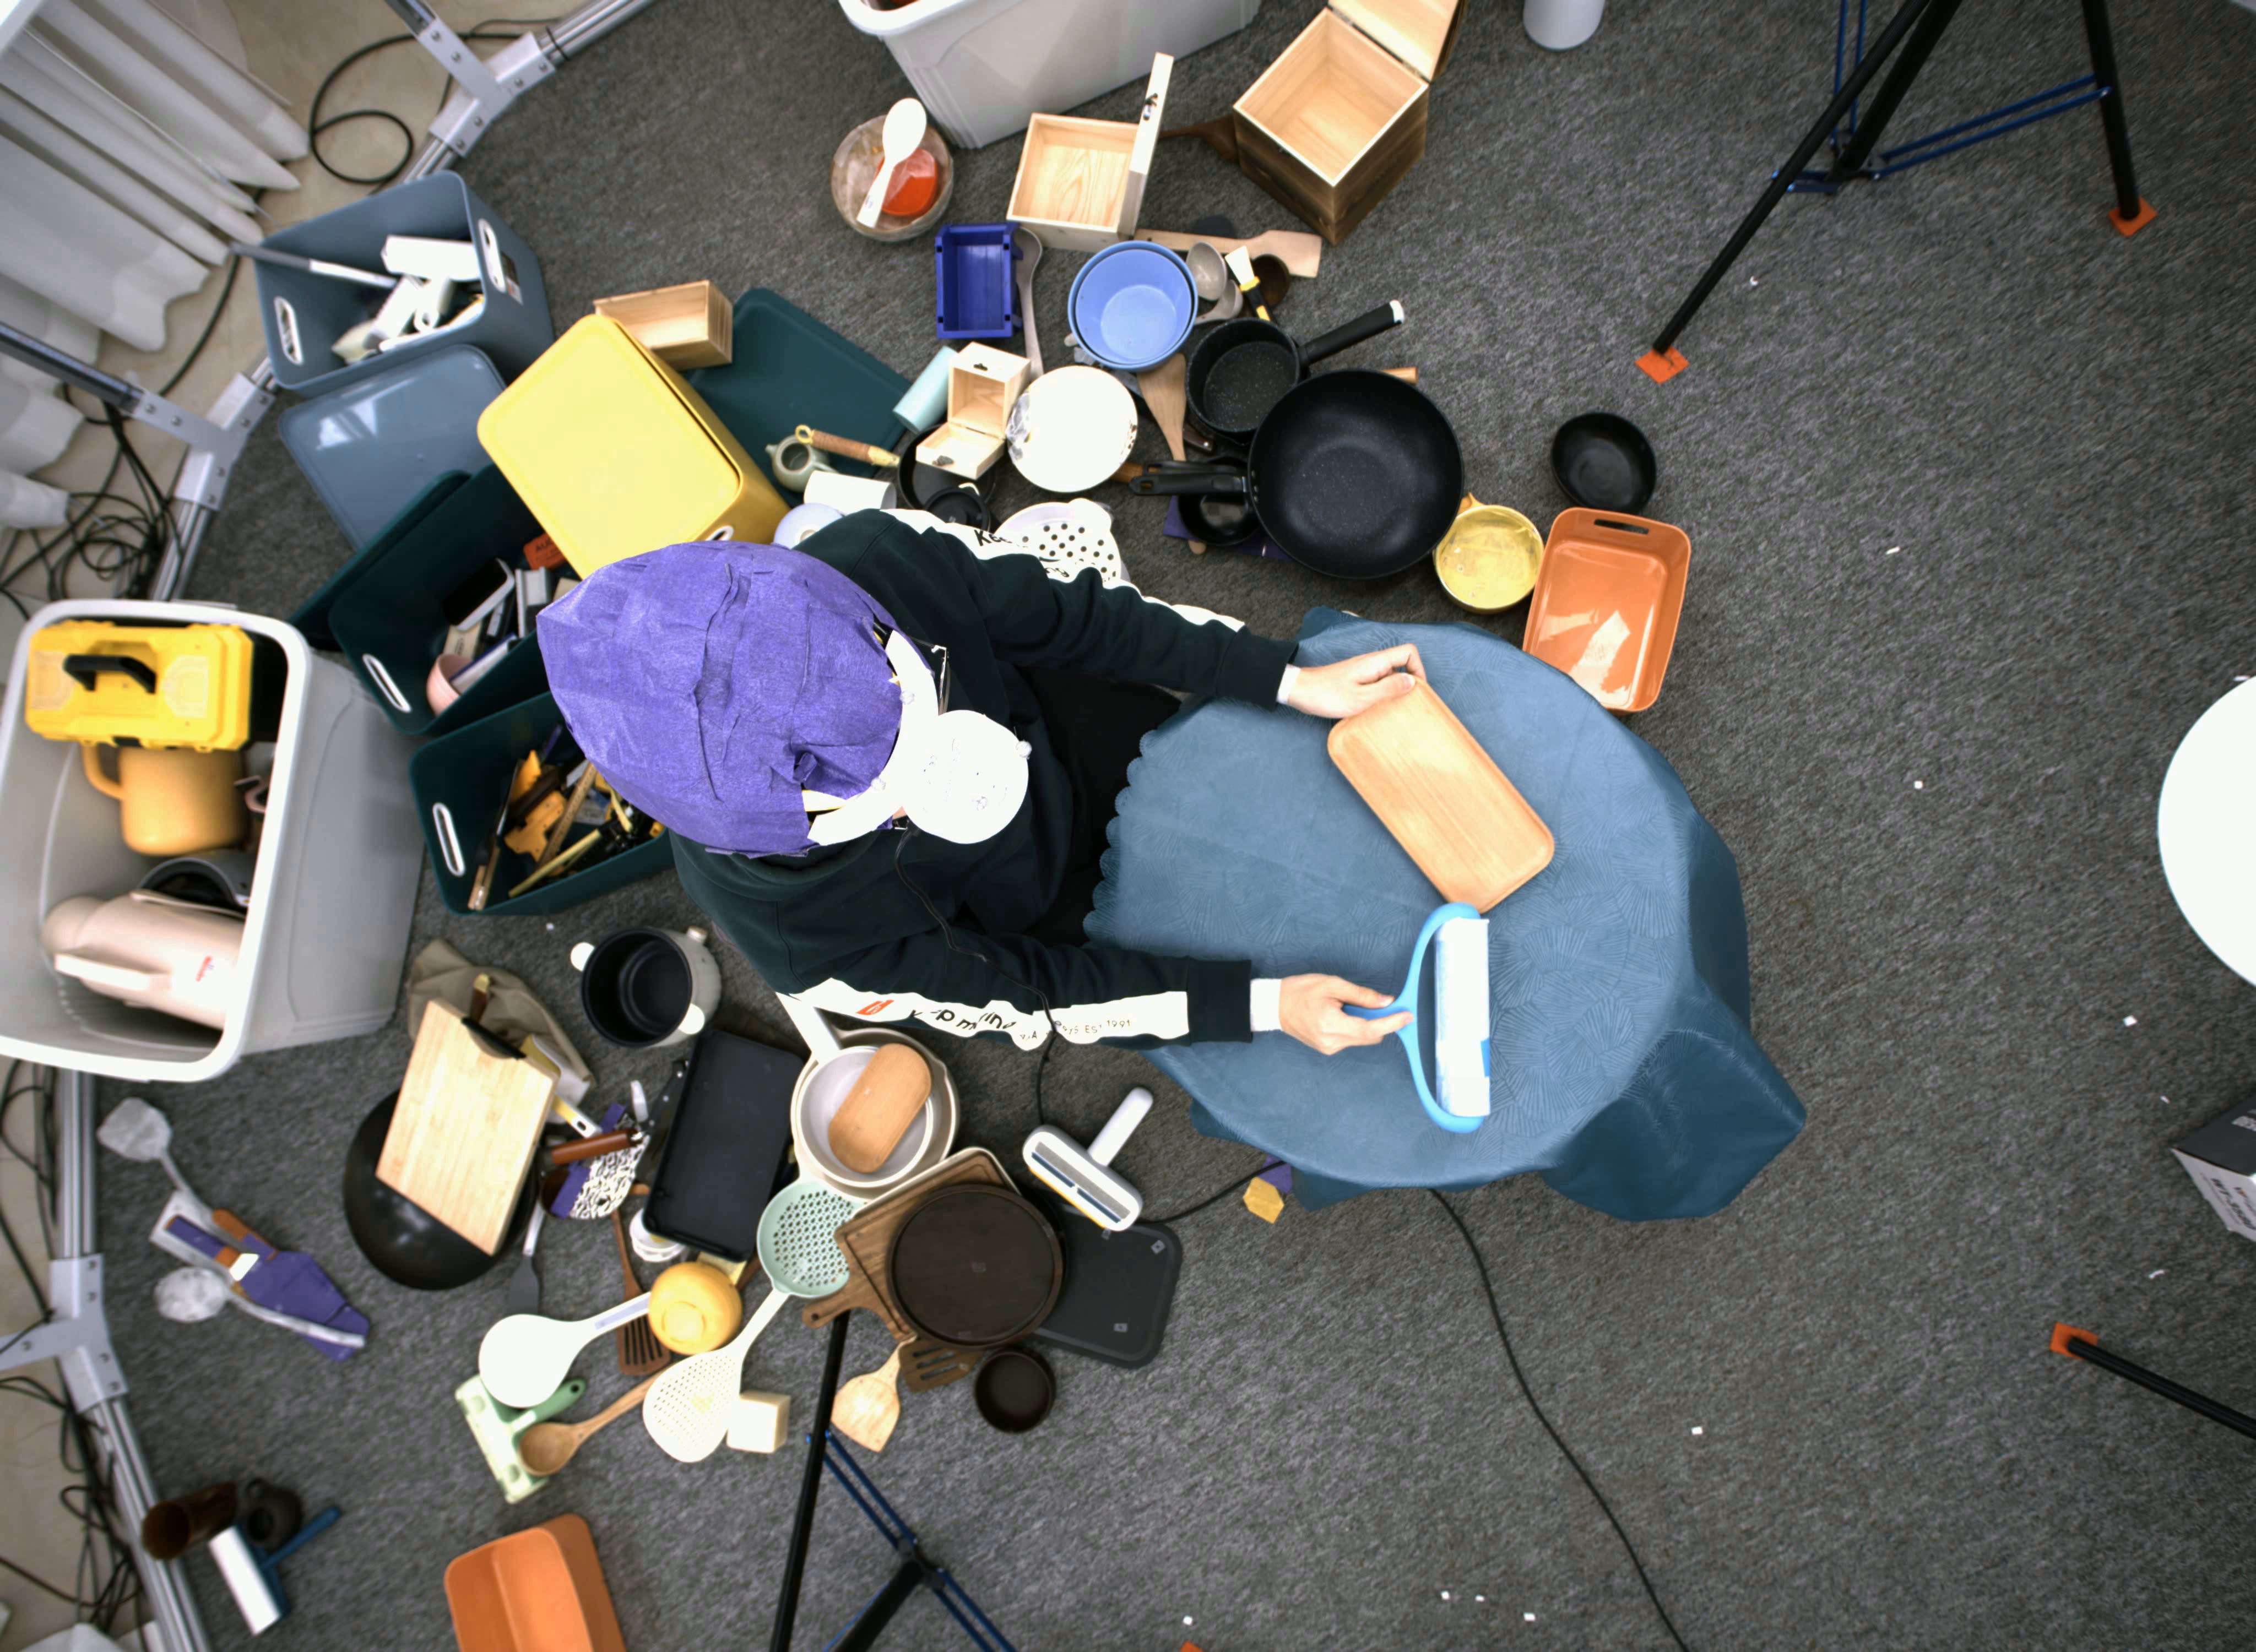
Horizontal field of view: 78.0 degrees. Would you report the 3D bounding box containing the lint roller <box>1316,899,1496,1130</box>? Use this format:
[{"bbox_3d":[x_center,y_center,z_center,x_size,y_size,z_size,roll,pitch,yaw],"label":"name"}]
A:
[{"bbox_3d":[0.278,0.190,1.388,0.181,0.068,0.228,-4,88,11],"label":"lint roller"}]

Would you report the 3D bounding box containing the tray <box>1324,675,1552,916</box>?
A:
[{"bbox_3d":[0.320,-0.032,1.424,0.132,0.022,0.250,-39,87,19],"label":"tray"}]
